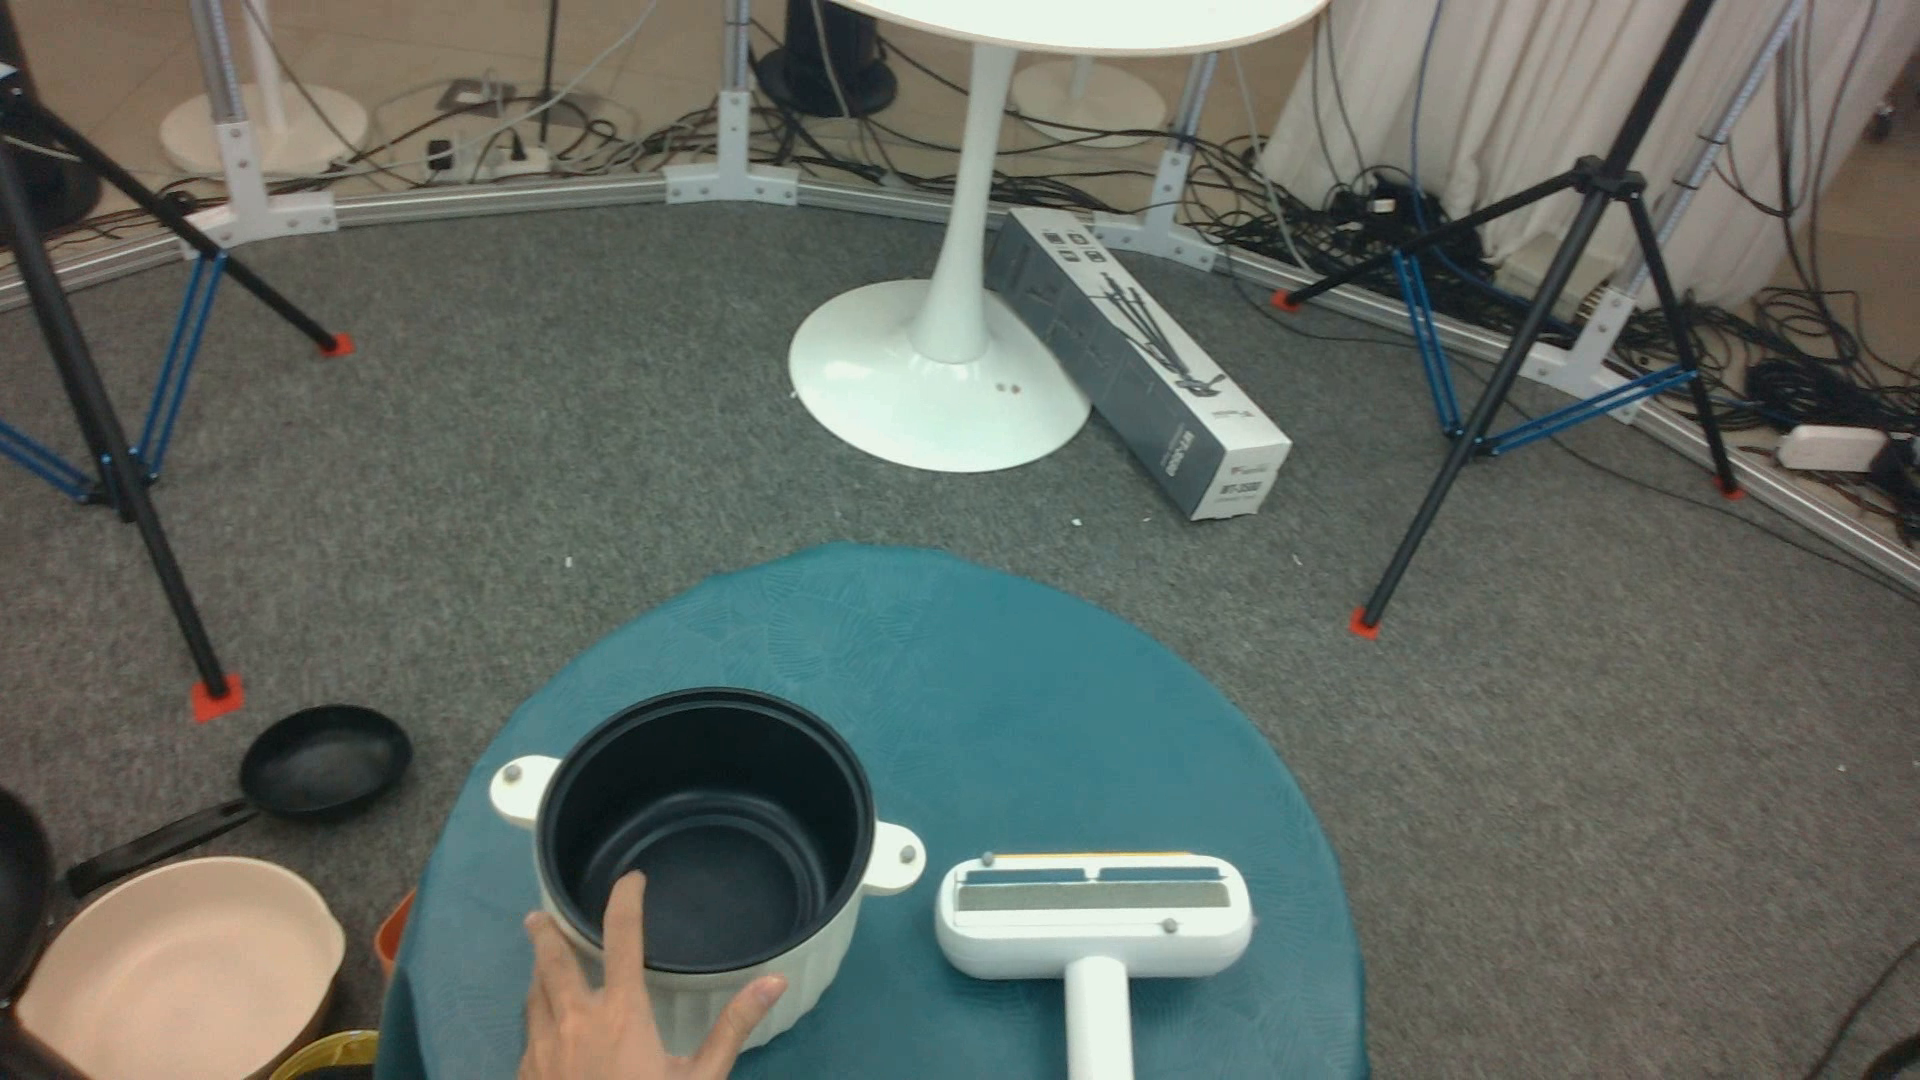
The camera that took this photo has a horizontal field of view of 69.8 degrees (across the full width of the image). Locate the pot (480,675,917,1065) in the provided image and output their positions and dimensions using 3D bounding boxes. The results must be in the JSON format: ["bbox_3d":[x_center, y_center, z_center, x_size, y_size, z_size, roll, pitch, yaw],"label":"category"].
[{"bbox_3d":[-0.152,0.186,0.799,0.240,0.142,0.191,12,46,-2],"label":"pot"}]

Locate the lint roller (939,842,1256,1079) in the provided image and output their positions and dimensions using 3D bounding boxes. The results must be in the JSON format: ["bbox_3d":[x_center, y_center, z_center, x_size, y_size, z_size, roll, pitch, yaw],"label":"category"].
[{"bbox_3d":[0.080,0.272,0.814,0.193,0.074,0.193,4,46,0],"label":"lint roller"}]
